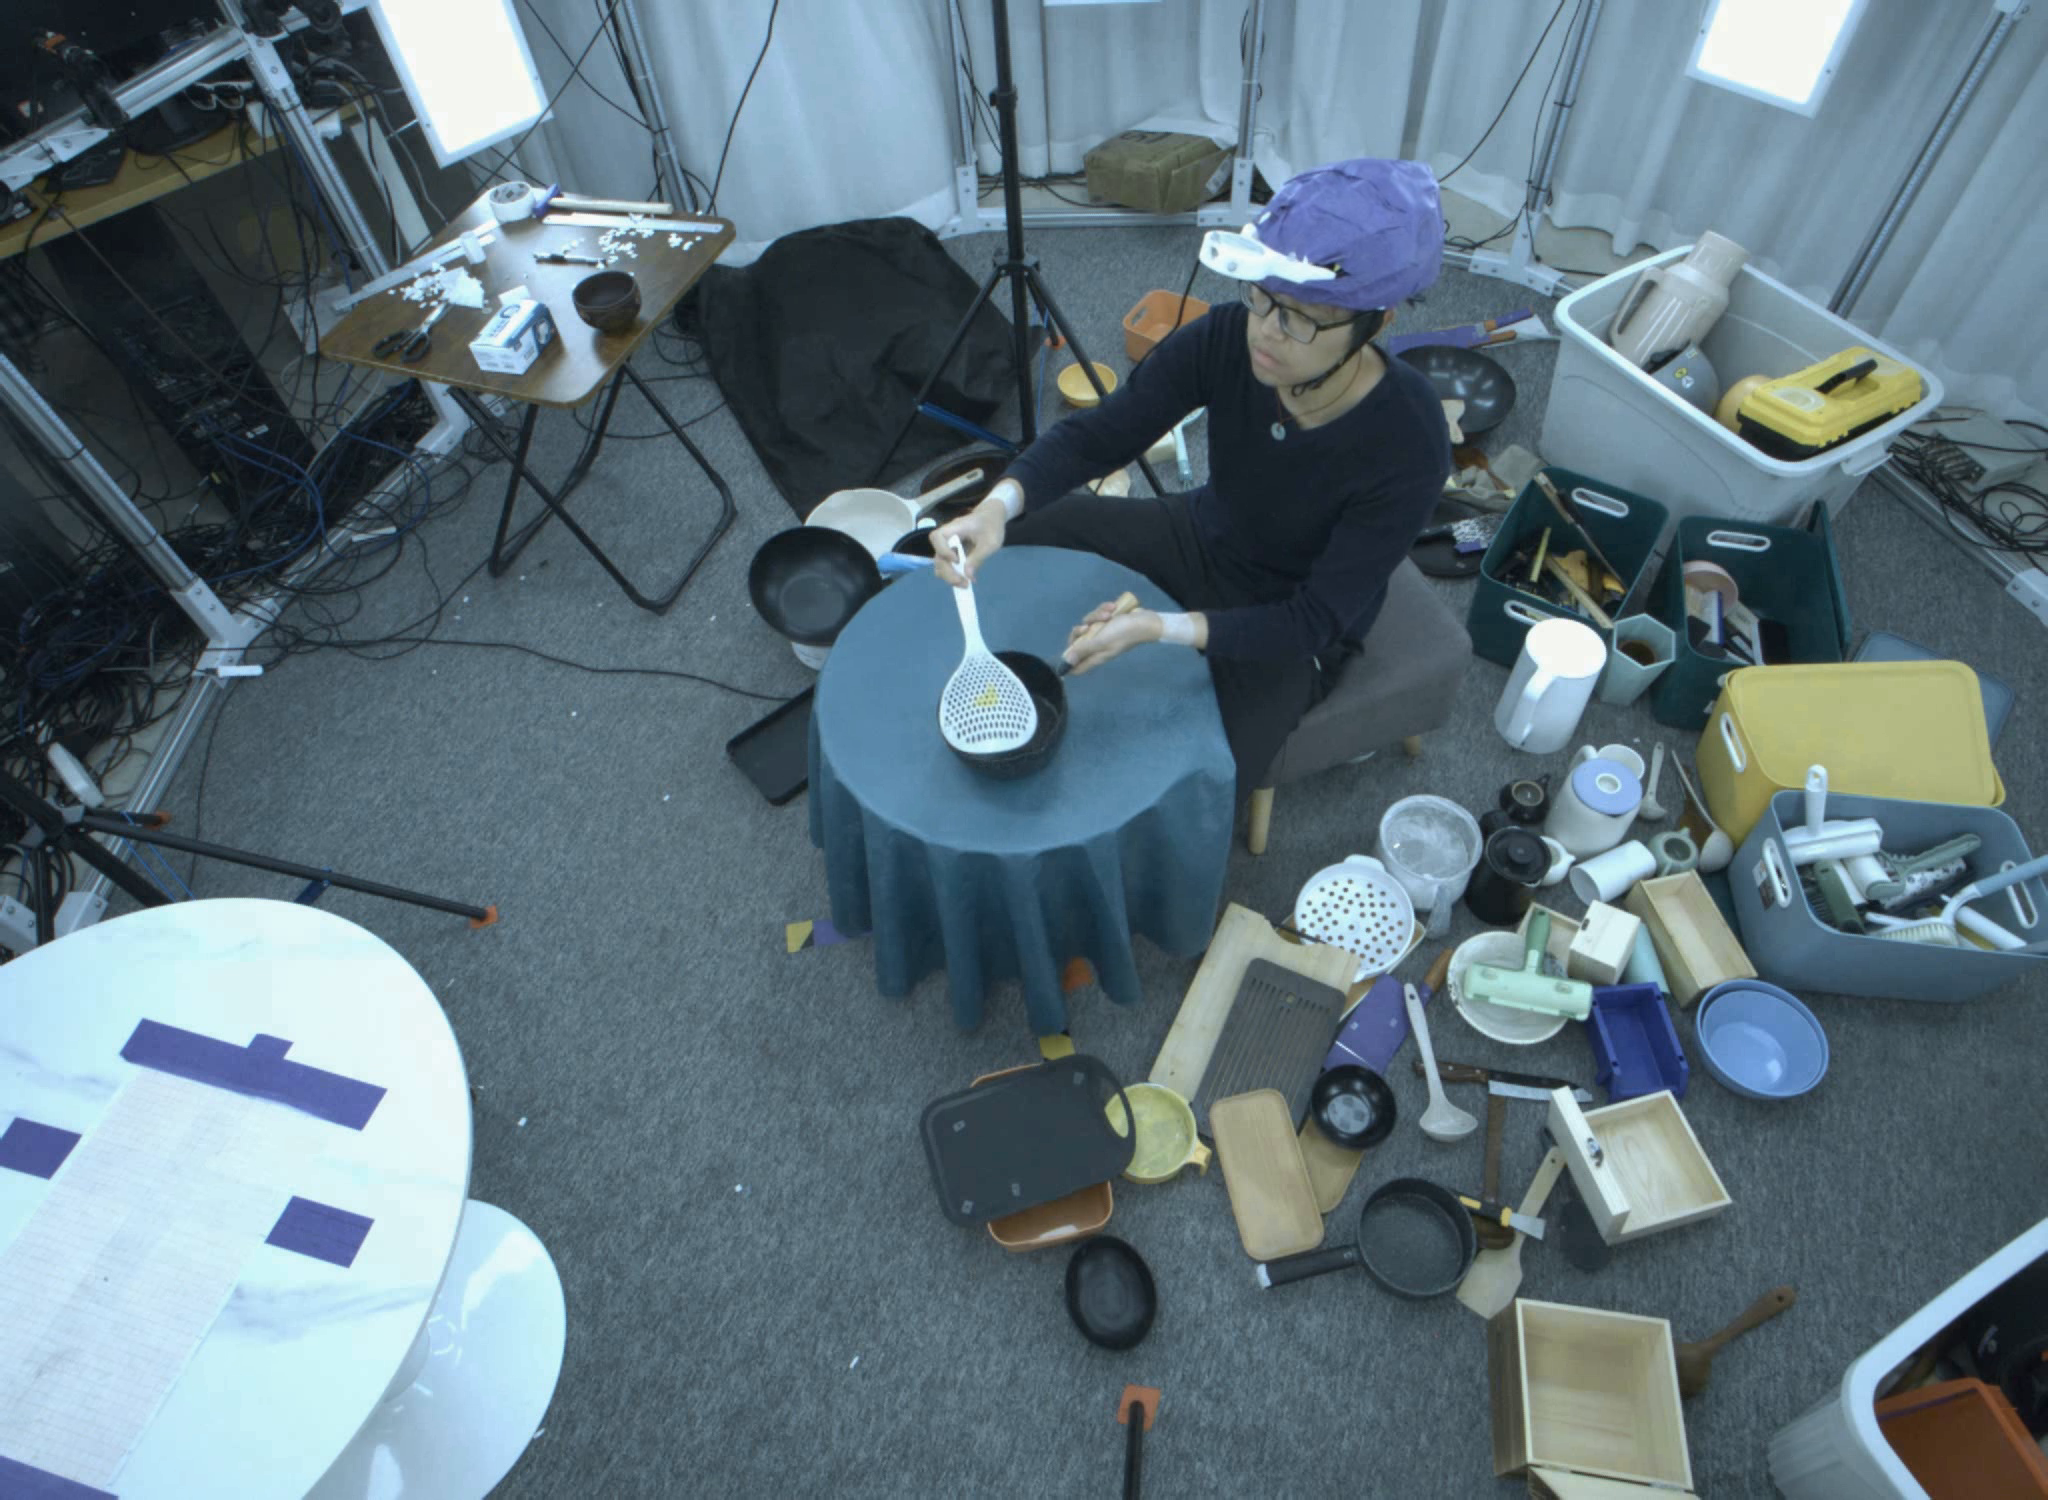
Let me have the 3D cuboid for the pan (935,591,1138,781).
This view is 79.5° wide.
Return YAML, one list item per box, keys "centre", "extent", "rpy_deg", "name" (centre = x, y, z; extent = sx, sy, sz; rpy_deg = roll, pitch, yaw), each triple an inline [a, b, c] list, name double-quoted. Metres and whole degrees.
- centre: [0.032, -0.097, 1.758]
  extent: [0.344, 0.110, 0.203]
  rpy_deg: [-40, 60, -10]
  name: "pan"

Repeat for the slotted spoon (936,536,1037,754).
- centre: [-0.068, -0.132, 1.631]
  extent: [0.136, 0.353, 0.049]
  rpy_deg: [-8, 46, 4]
  name: "slotted spoon"
